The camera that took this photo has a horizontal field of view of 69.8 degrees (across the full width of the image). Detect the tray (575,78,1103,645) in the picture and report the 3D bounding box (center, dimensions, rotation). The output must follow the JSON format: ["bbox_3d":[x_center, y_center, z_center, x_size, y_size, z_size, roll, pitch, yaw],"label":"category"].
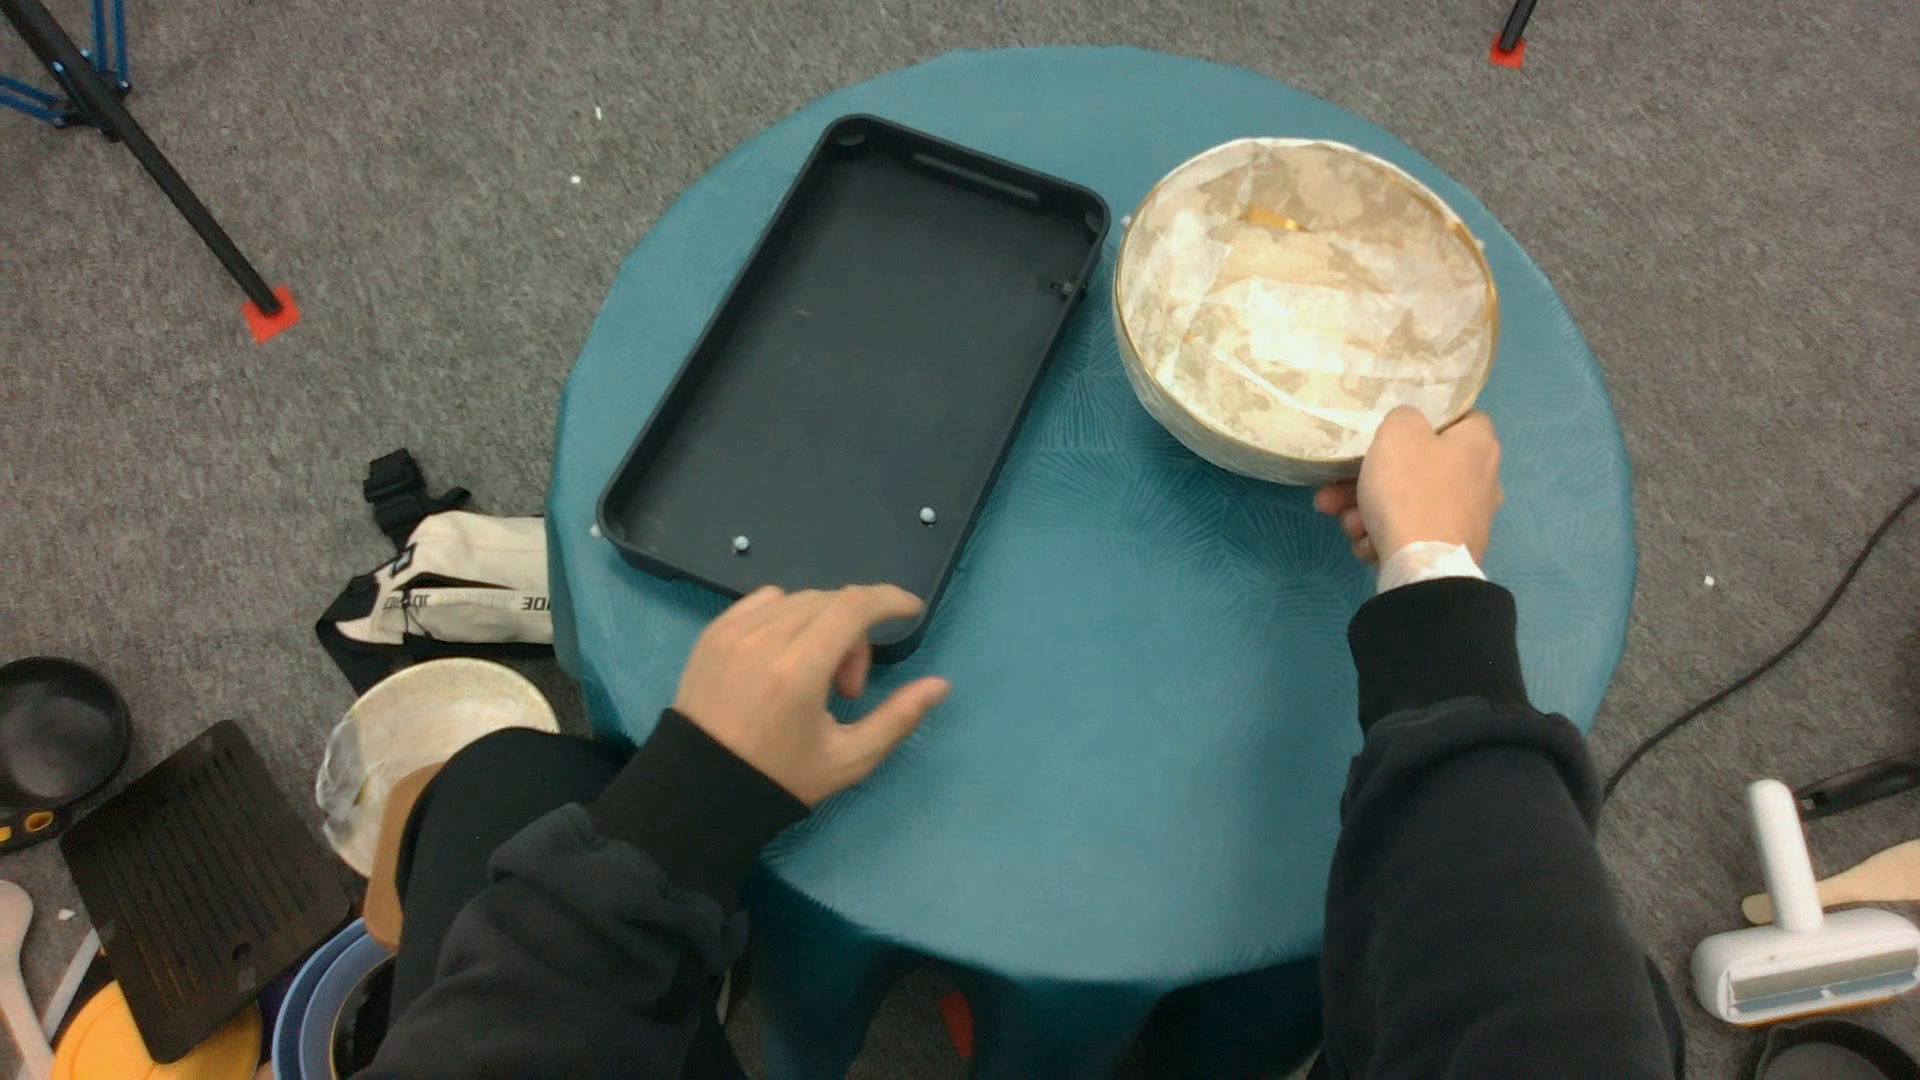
[{"bbox_3d":[-0.058,-0.109,0.766,0.184,0.037,0.319,23,67,7],"label":"tray"}]

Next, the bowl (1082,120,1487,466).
[{"bbox_3d":[0.165,-0.118,0.751,0.215,0.094,0.215,2,65,-4],"label":"bowl"}]
